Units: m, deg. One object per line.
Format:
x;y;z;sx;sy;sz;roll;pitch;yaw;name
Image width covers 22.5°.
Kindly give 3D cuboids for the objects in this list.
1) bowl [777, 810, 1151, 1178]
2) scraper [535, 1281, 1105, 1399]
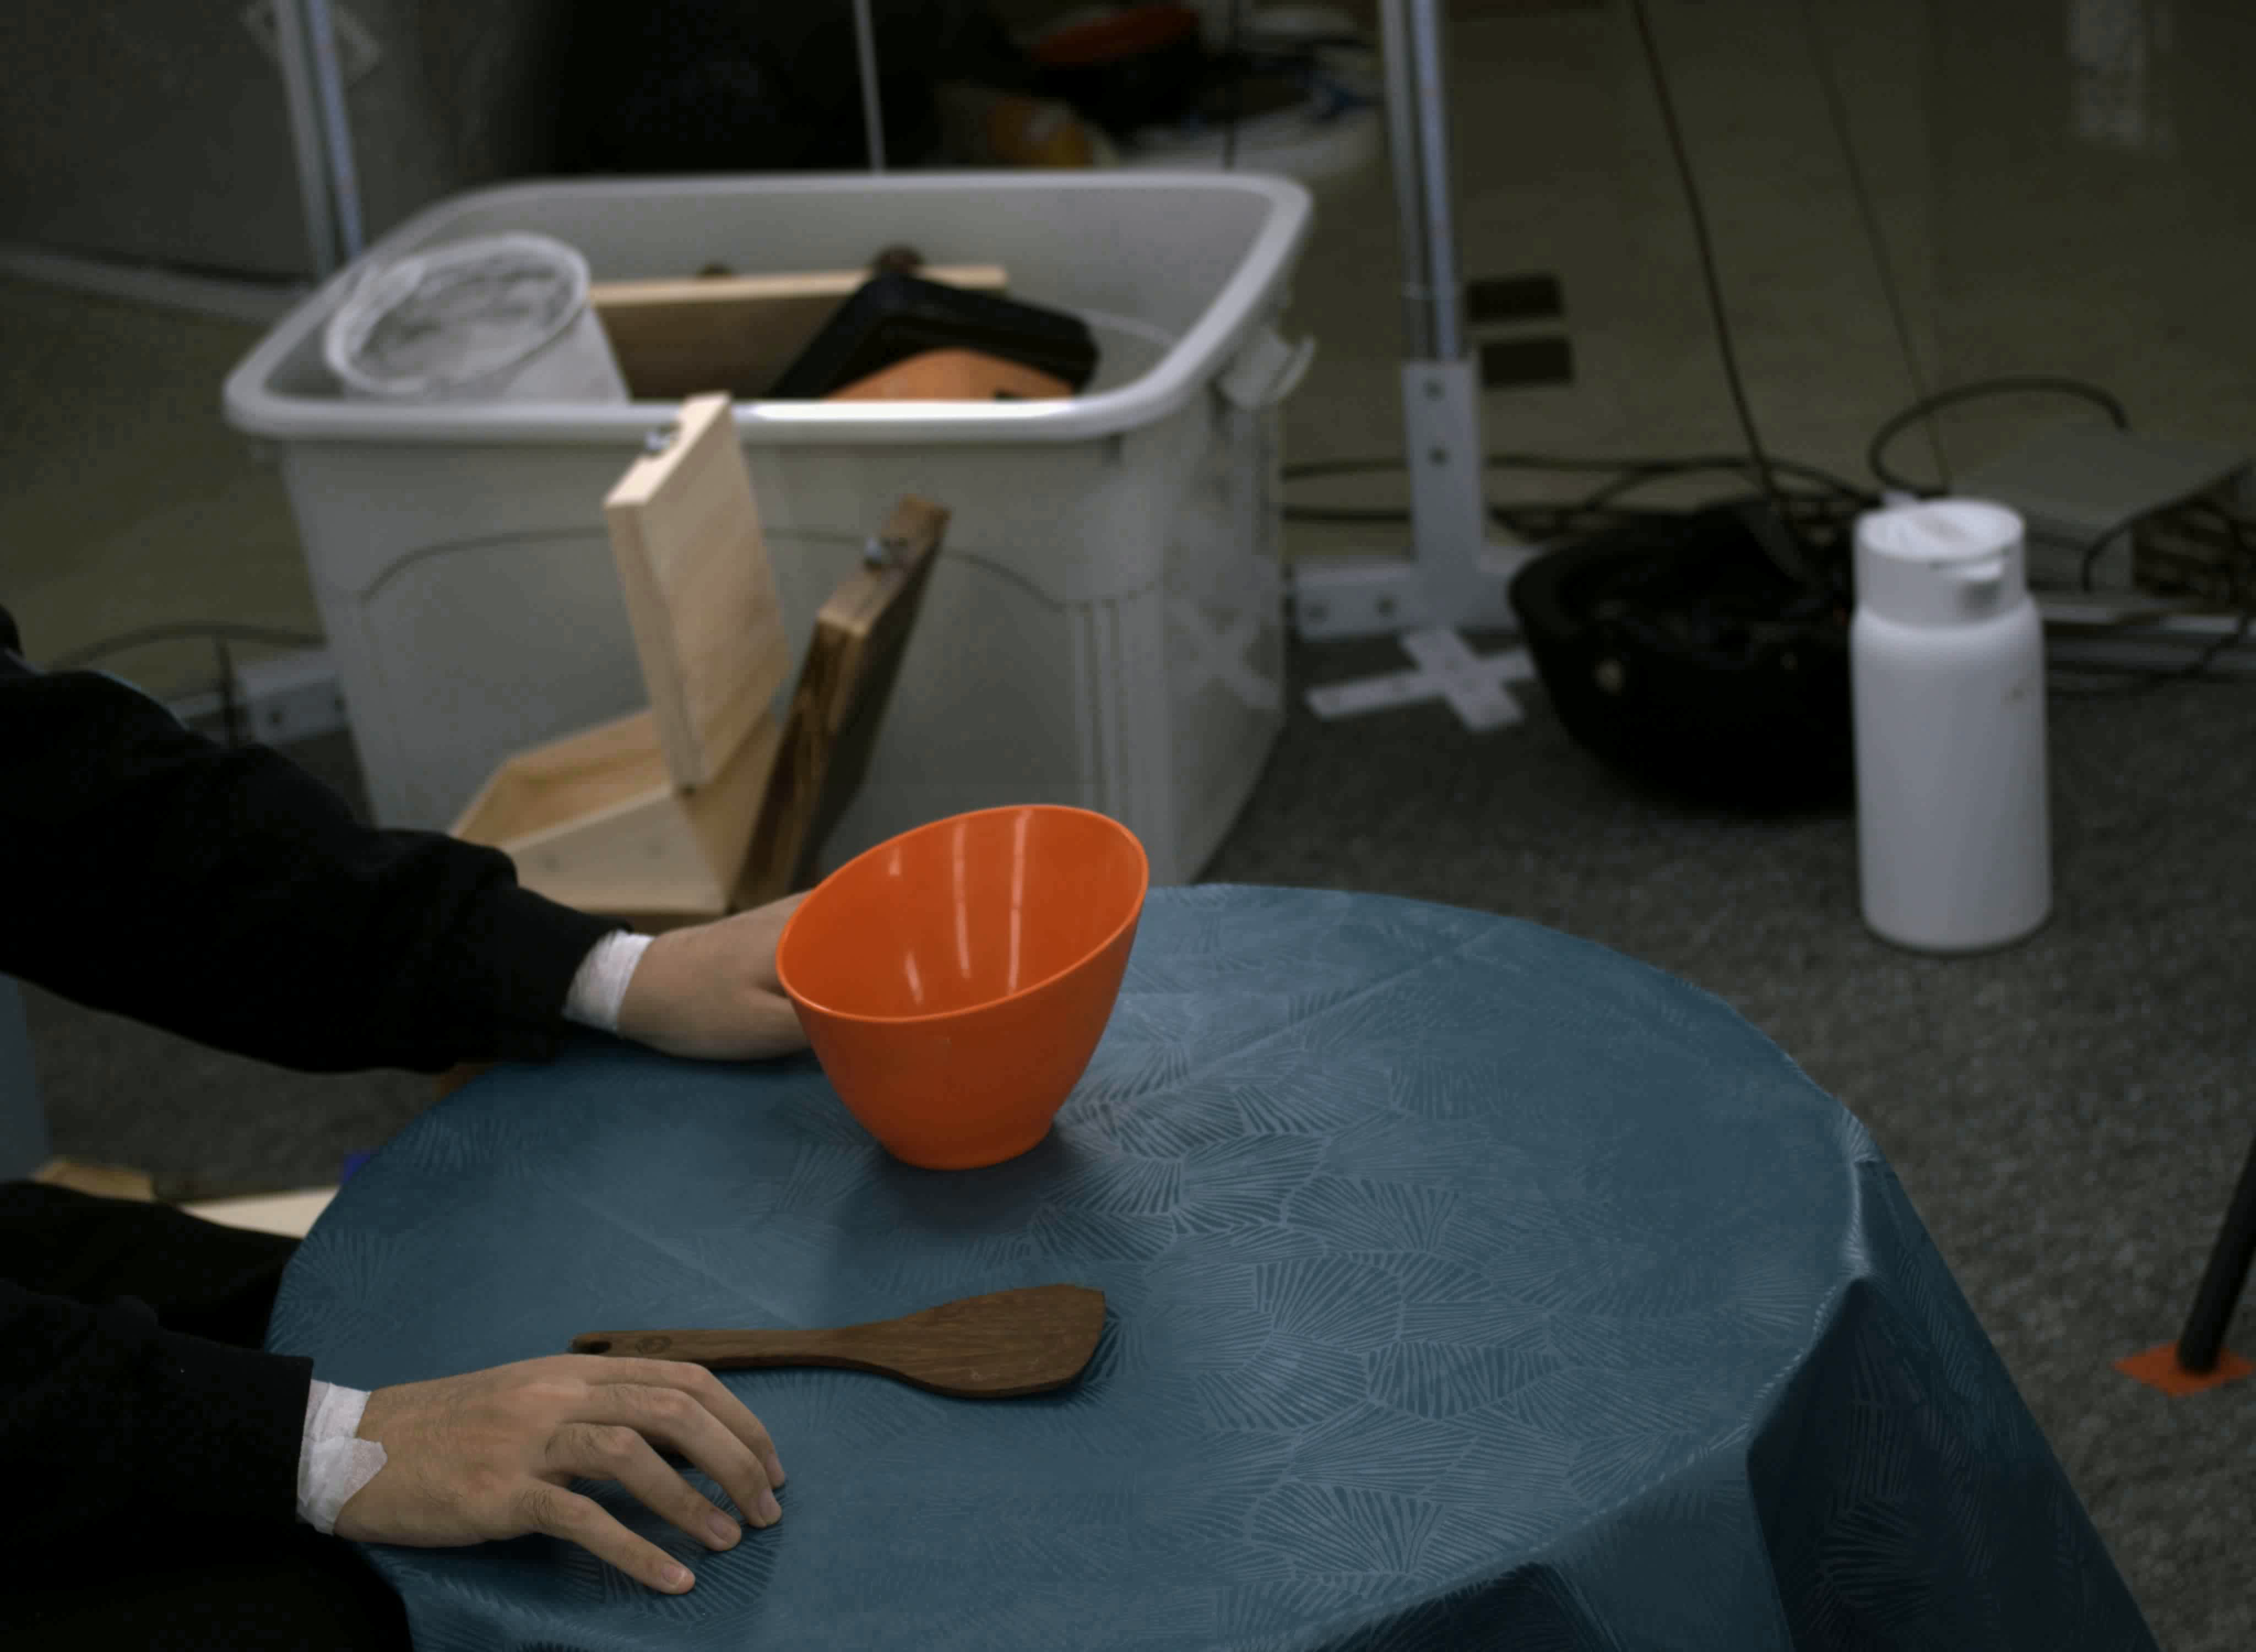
-0.058;0.071;2.193;0.148;0.106;0.146;-6;27;3;bowl
-0.112;0.190;2.063;0.211;0.011;0.075;-3;24;10;scraper
